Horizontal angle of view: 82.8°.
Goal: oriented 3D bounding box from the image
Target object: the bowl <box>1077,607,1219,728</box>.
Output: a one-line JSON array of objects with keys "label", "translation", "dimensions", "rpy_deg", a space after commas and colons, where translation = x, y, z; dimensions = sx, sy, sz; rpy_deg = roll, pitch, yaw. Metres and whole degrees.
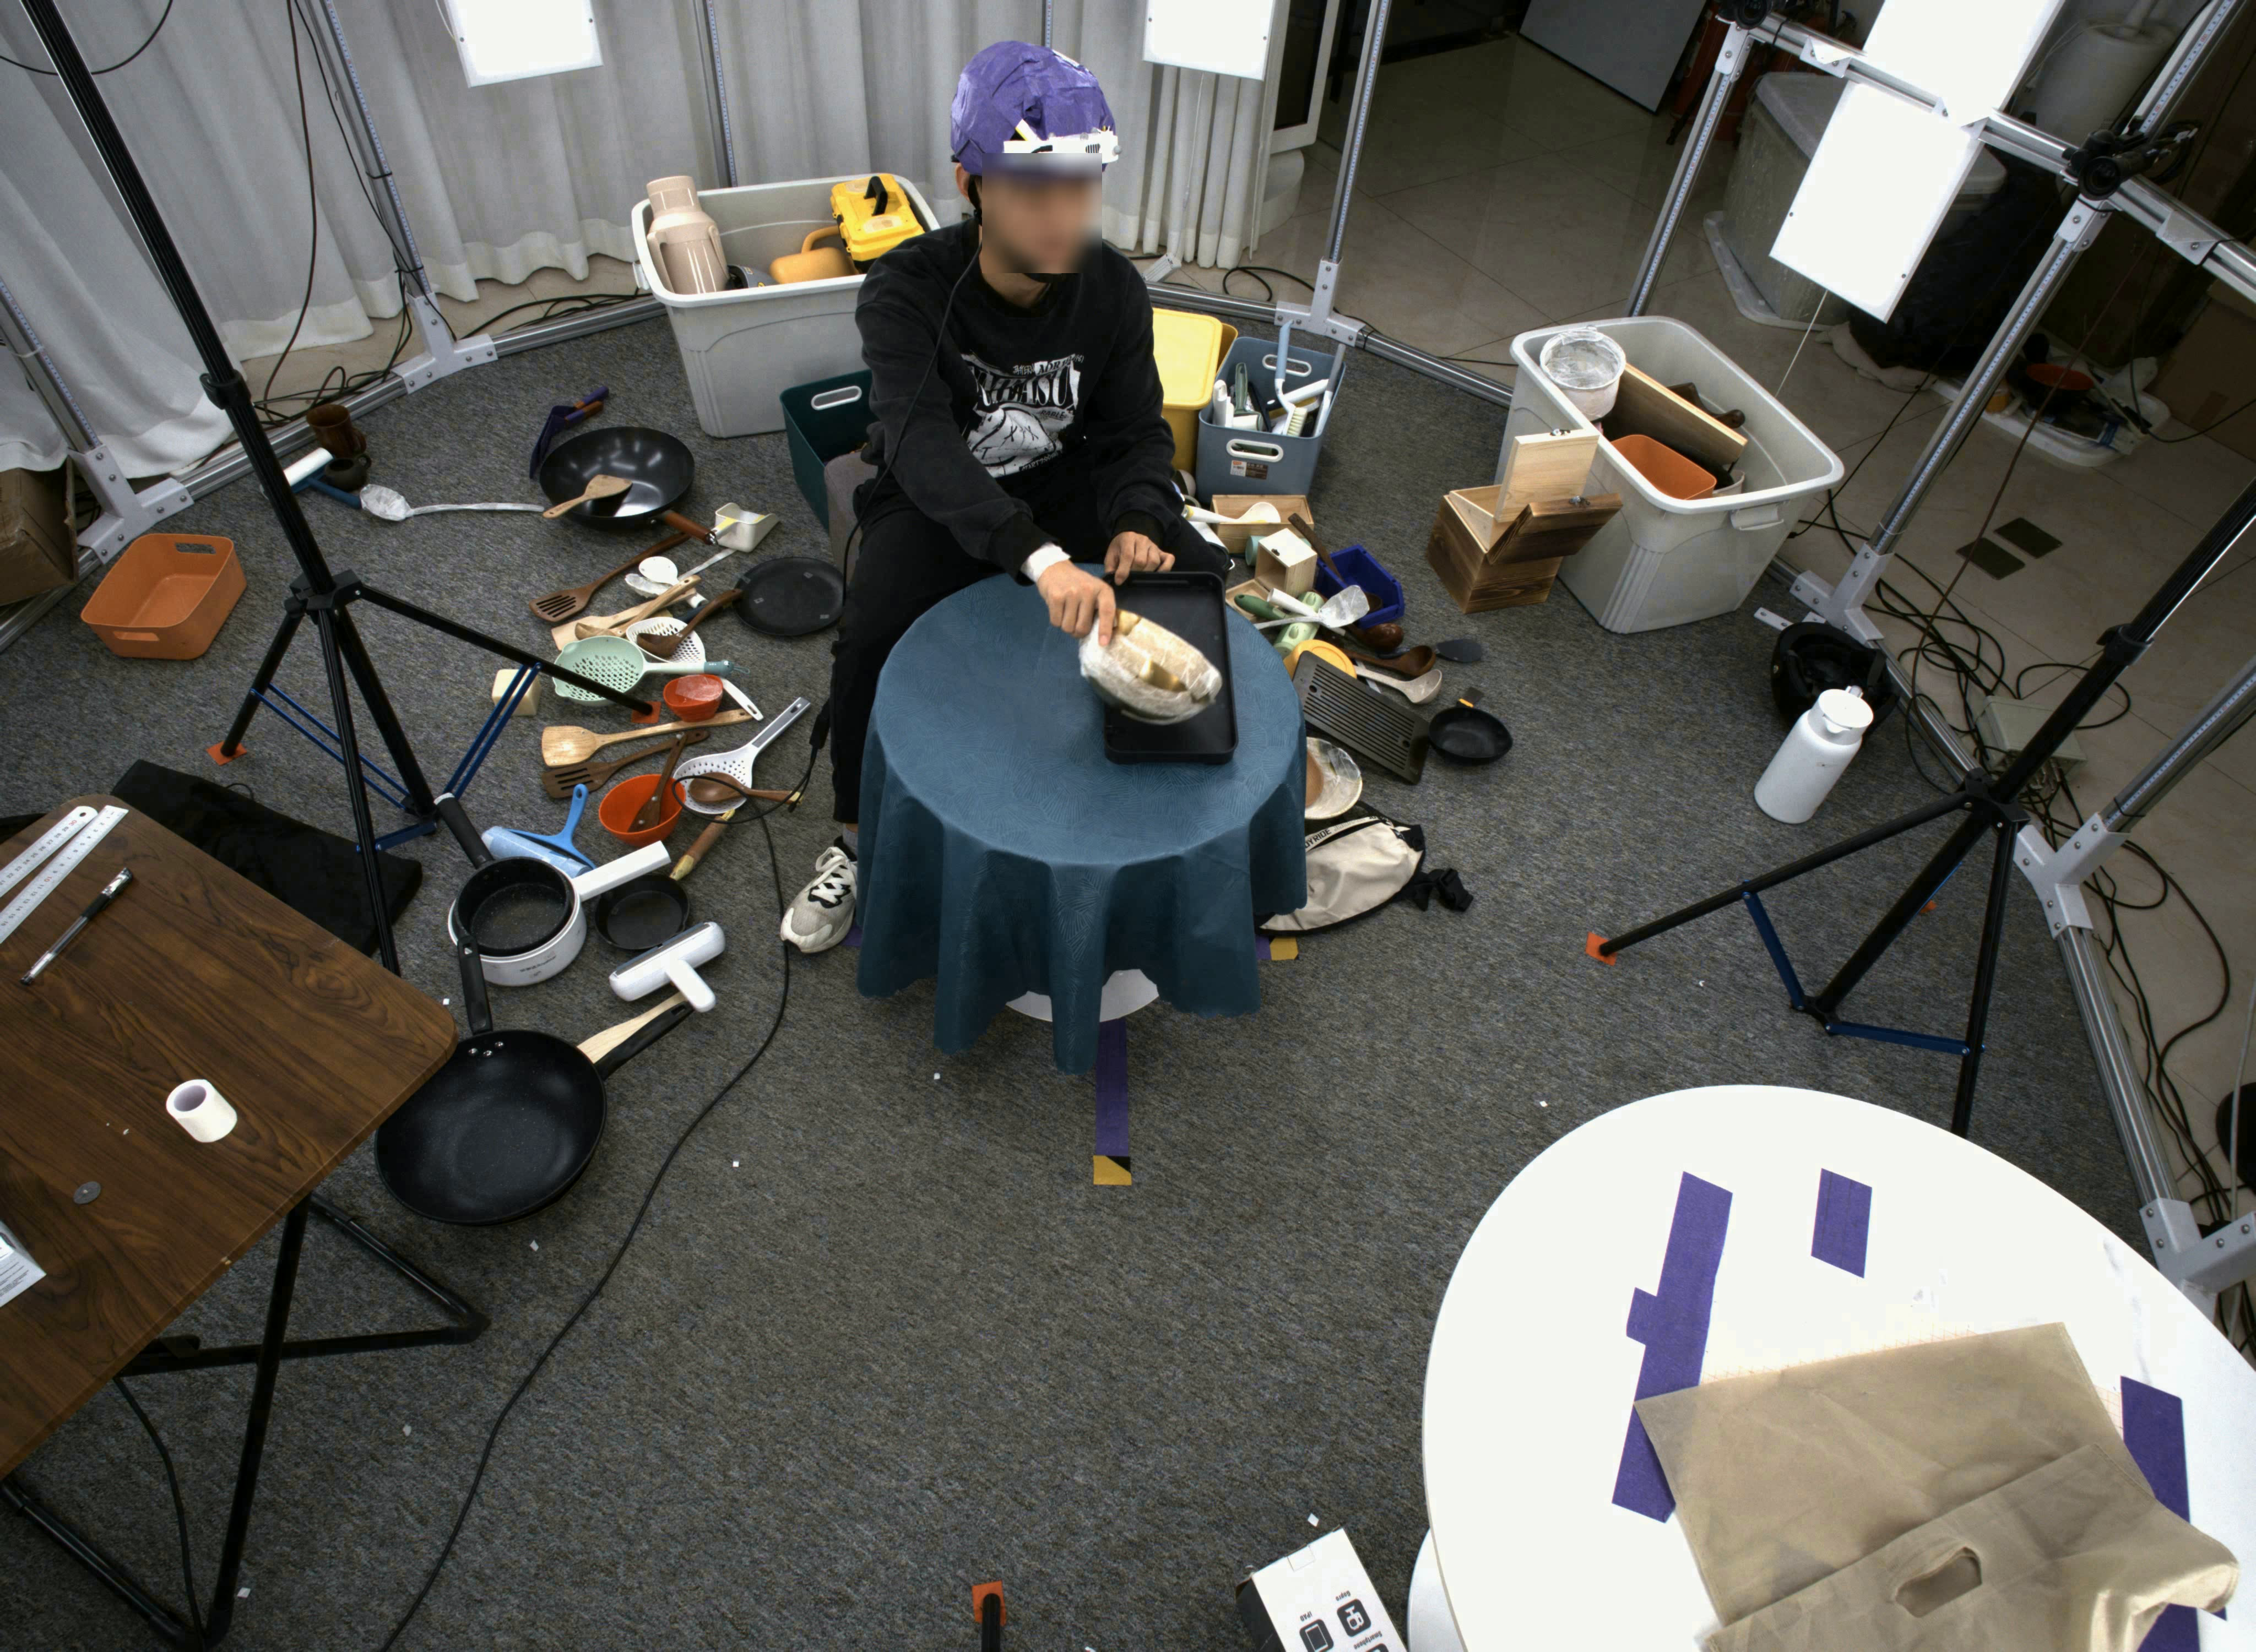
[{"label": "bowl", "translation": [0.011, -0.191, 1.699], "dimensions": [0.216, 0.211, 0.095], "rpy_deg": [27, 80, 17]}]

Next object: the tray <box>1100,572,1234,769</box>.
[{"label": "tray", "translation": [0.052, -0.226, 1.832], "dimensions": [0.184, 0.036, 0.325], "rpy_deg": [2, 59, -3]}]
